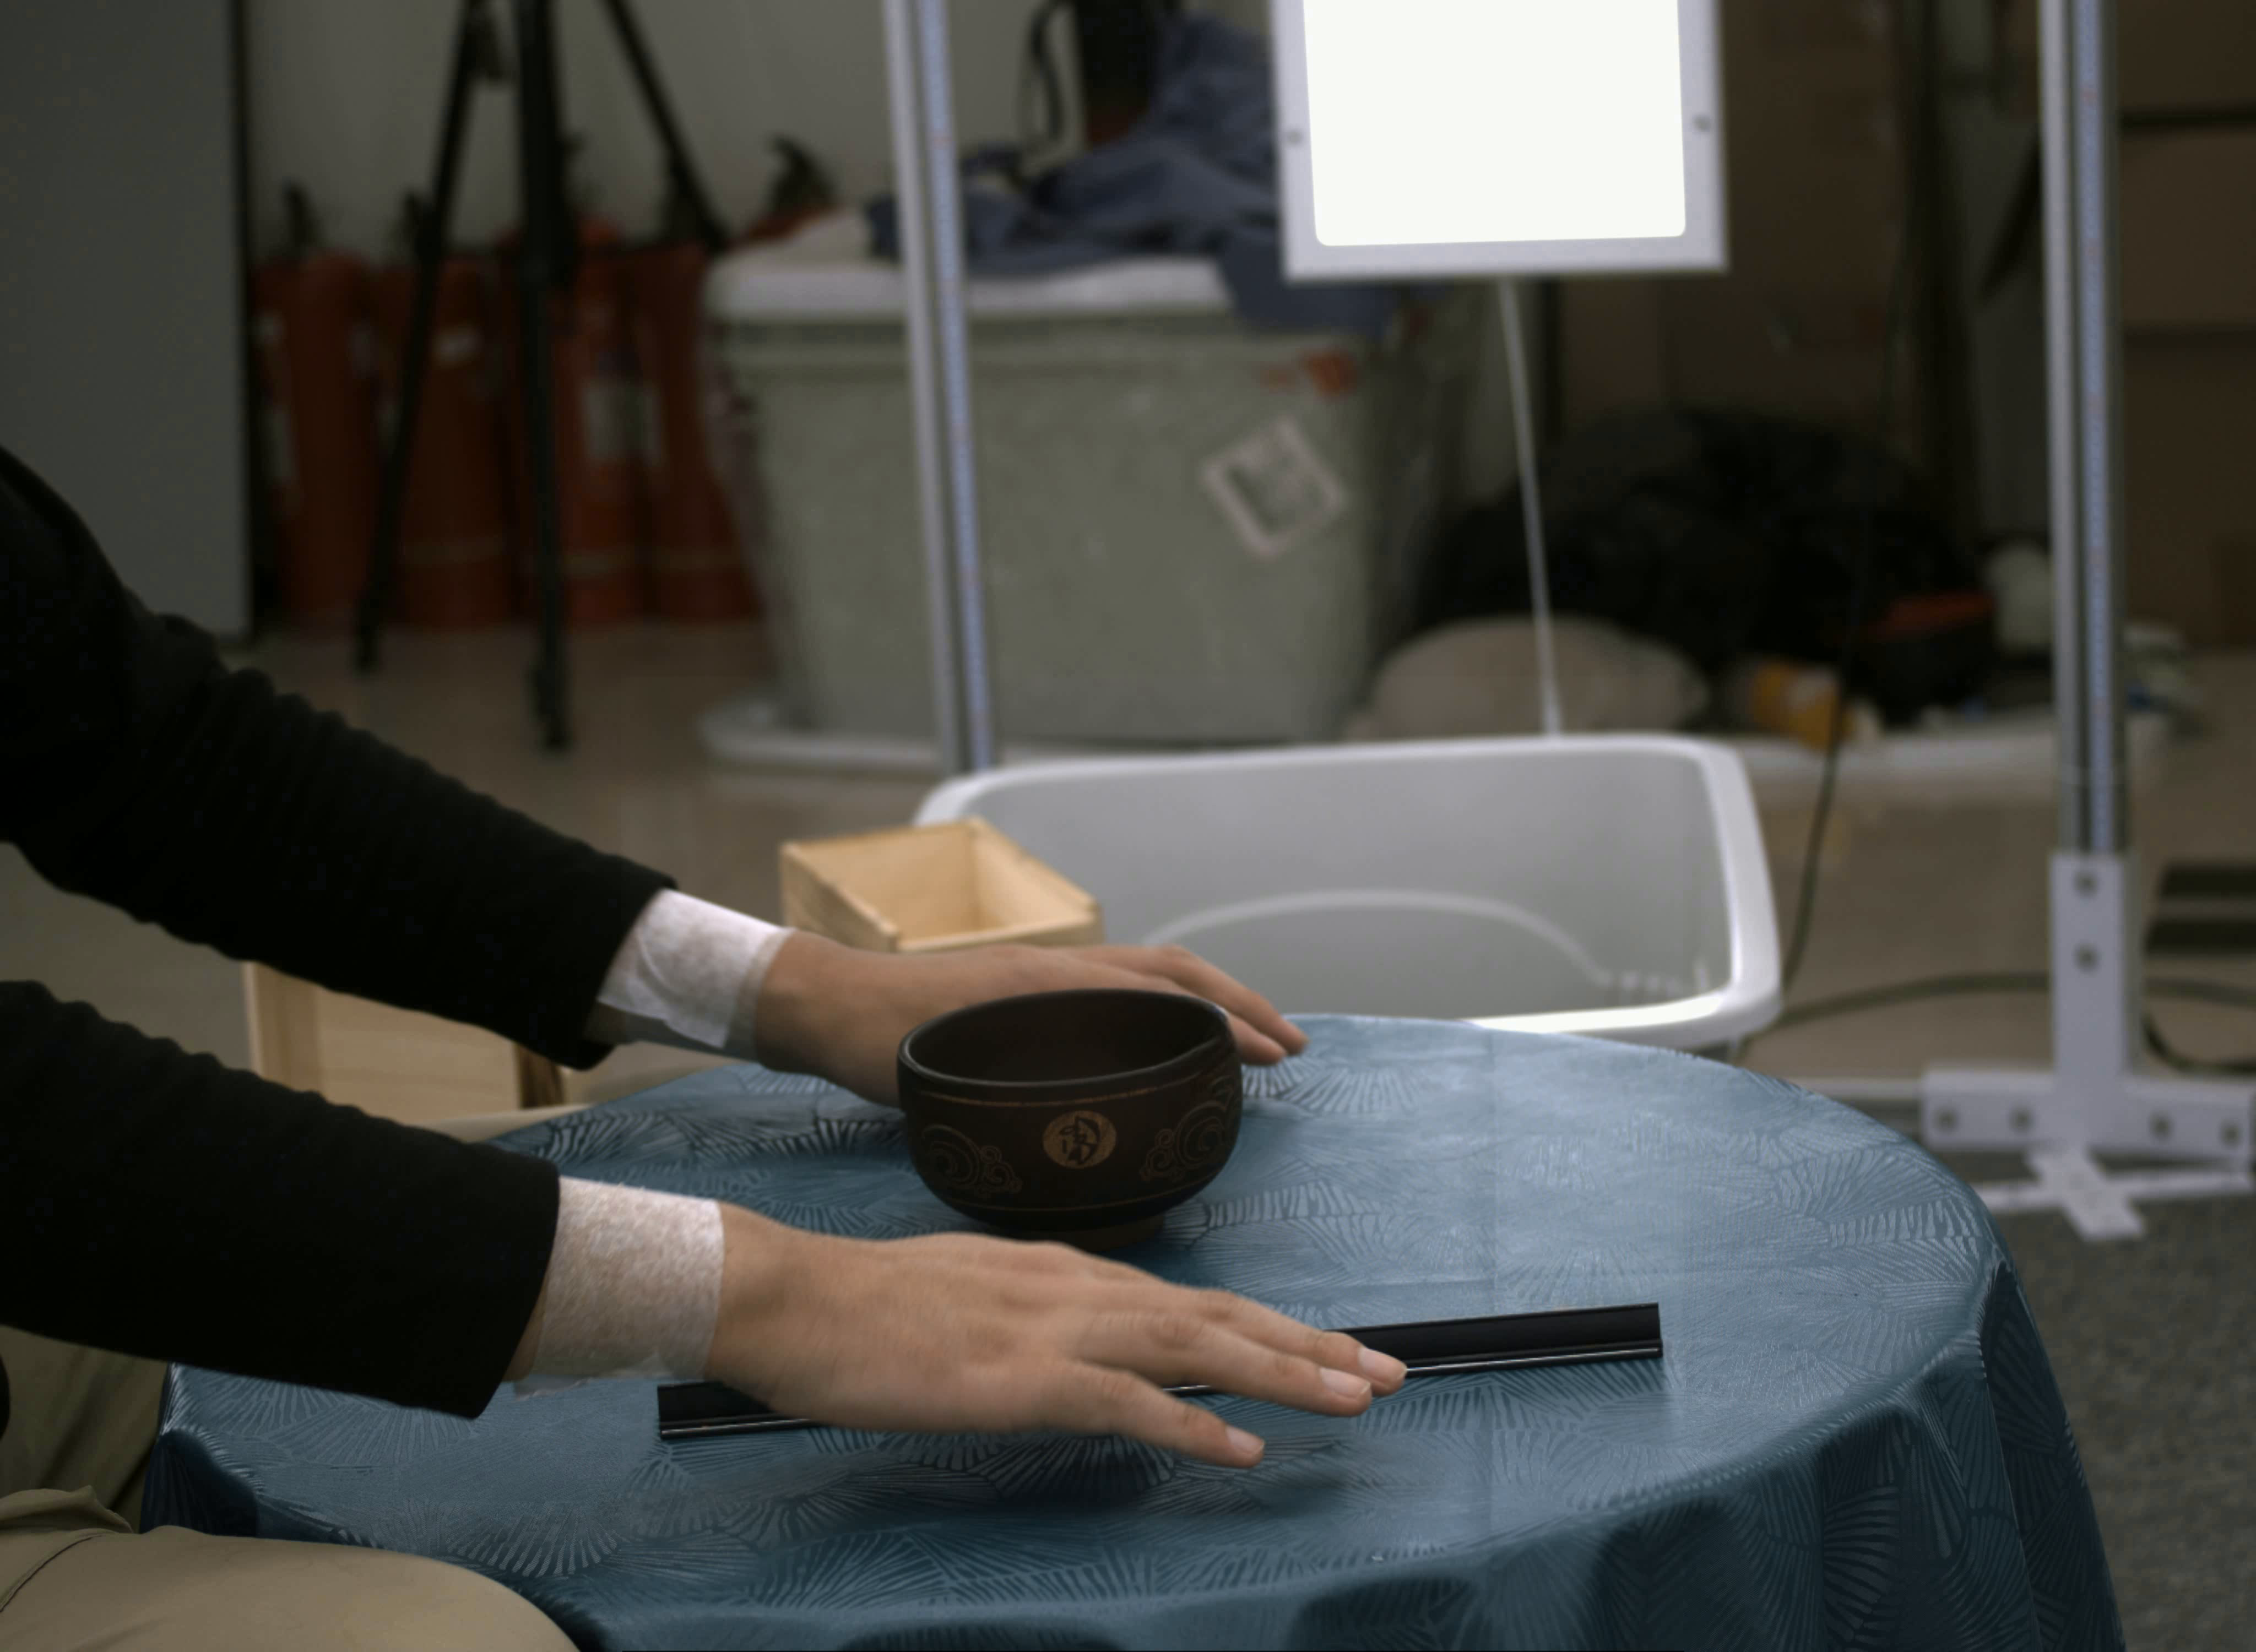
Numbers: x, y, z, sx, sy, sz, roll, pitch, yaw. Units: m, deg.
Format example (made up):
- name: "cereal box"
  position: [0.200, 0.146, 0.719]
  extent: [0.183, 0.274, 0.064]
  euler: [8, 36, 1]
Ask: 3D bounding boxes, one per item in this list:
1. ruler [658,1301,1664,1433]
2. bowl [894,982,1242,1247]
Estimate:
- name: "ruler"
  position: [0.010, 0.164, 1.709]
  extent: [0.312, 0.017, 0.039]
  euler: [-5, 9, 2]
- name: "bowl"
  position: [-0.019, 0.101, 1.856]
  extent: [0.118, 0.070, 0.118]
  euler: [-4, 13, 0]
